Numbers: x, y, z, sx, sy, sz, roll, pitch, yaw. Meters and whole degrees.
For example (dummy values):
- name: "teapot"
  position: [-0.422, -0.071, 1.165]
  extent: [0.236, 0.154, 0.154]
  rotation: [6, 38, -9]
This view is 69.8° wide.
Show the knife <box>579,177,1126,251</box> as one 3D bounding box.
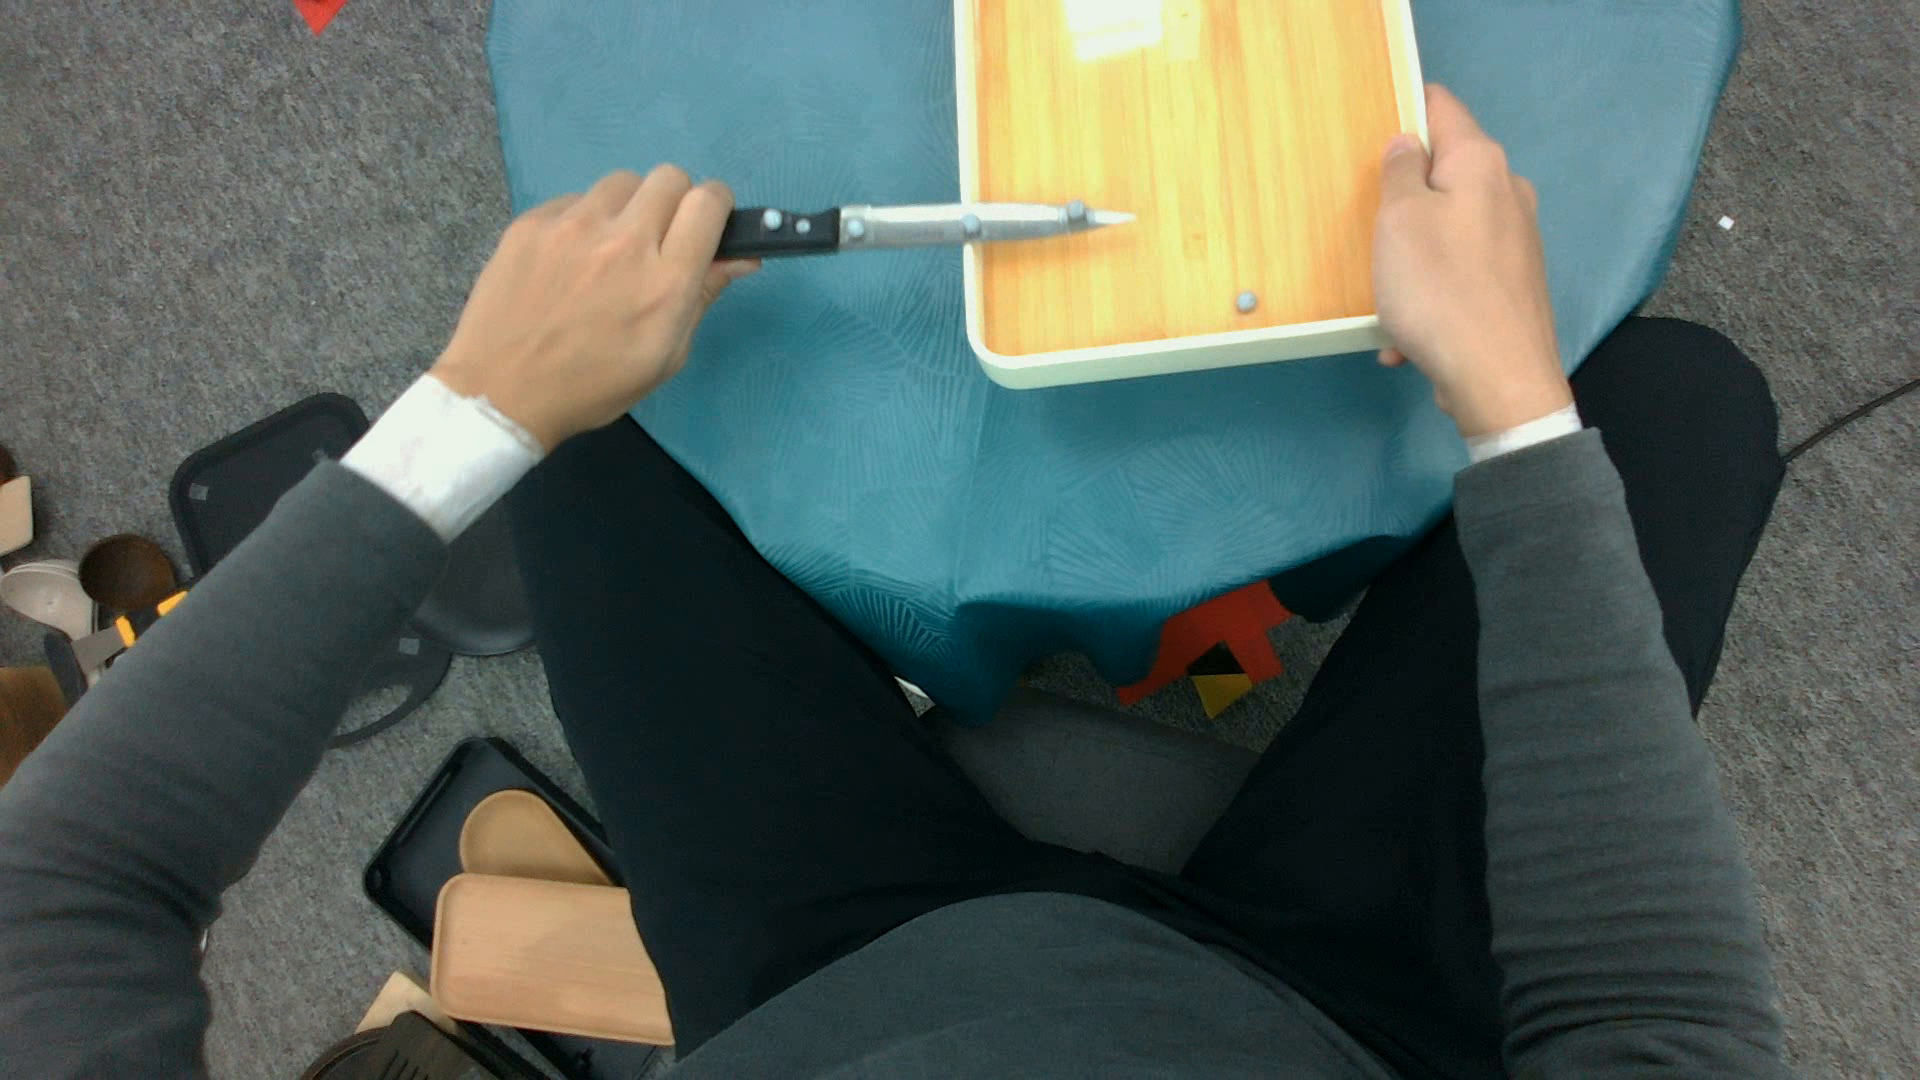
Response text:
- name: "knife"
  position: [-0.049, -0.139, 0.586]
  extent: [0.238, 0.016, 0.024]
  rotation: [-2, 68, 7]

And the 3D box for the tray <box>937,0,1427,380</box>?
- name: "tray"
  position: [0.087, -0.218, 0.607]
  extent: [0.191, 0.027, 0.301]
  rotation: [-5, 70, 9]
